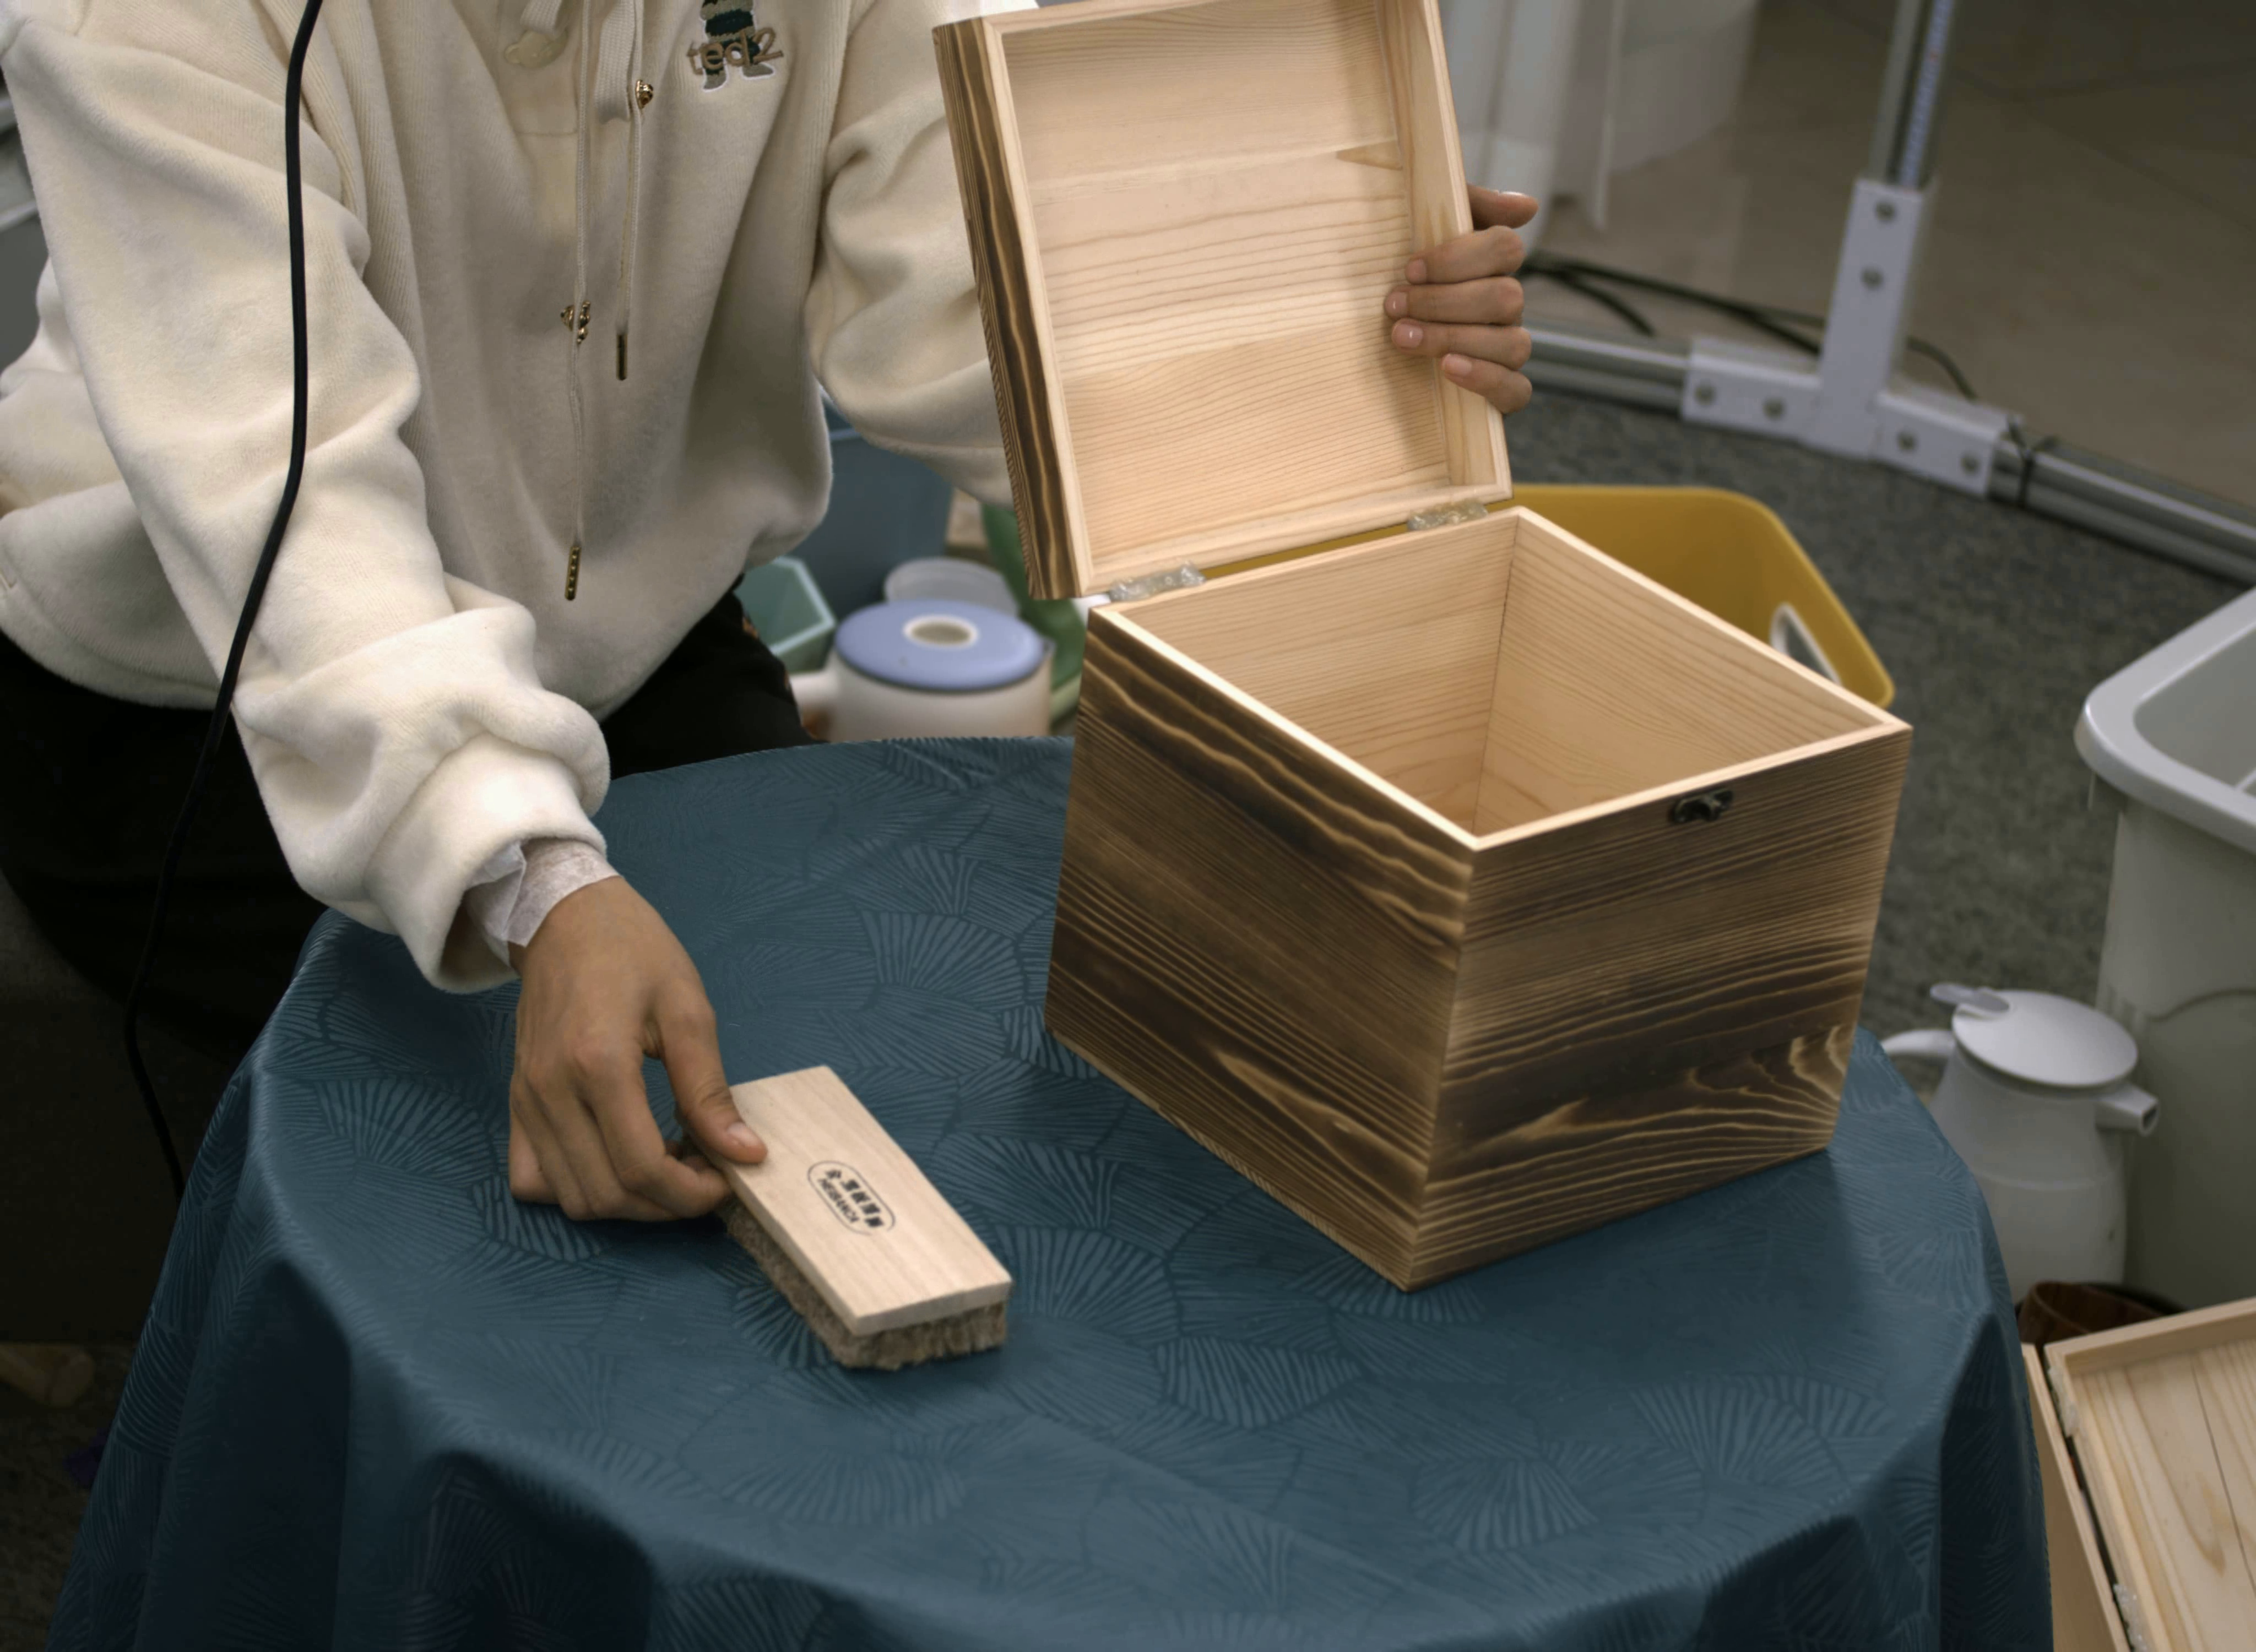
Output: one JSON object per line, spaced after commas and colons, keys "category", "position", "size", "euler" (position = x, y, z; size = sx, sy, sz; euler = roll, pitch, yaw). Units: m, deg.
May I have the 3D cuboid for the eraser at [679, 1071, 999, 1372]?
{"category": "eraser", "position": [-0.095, 0.130, 1.736], "size": [0.057, 0.029, 0.140], "euler": [-11, 31, -24]}

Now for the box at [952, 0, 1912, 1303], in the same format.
{"category": "box", "position": [0.094, -0.087, 1.837], "size": [0.207, 0.374, 0.325], "euler": [-16, 34, -36]}
